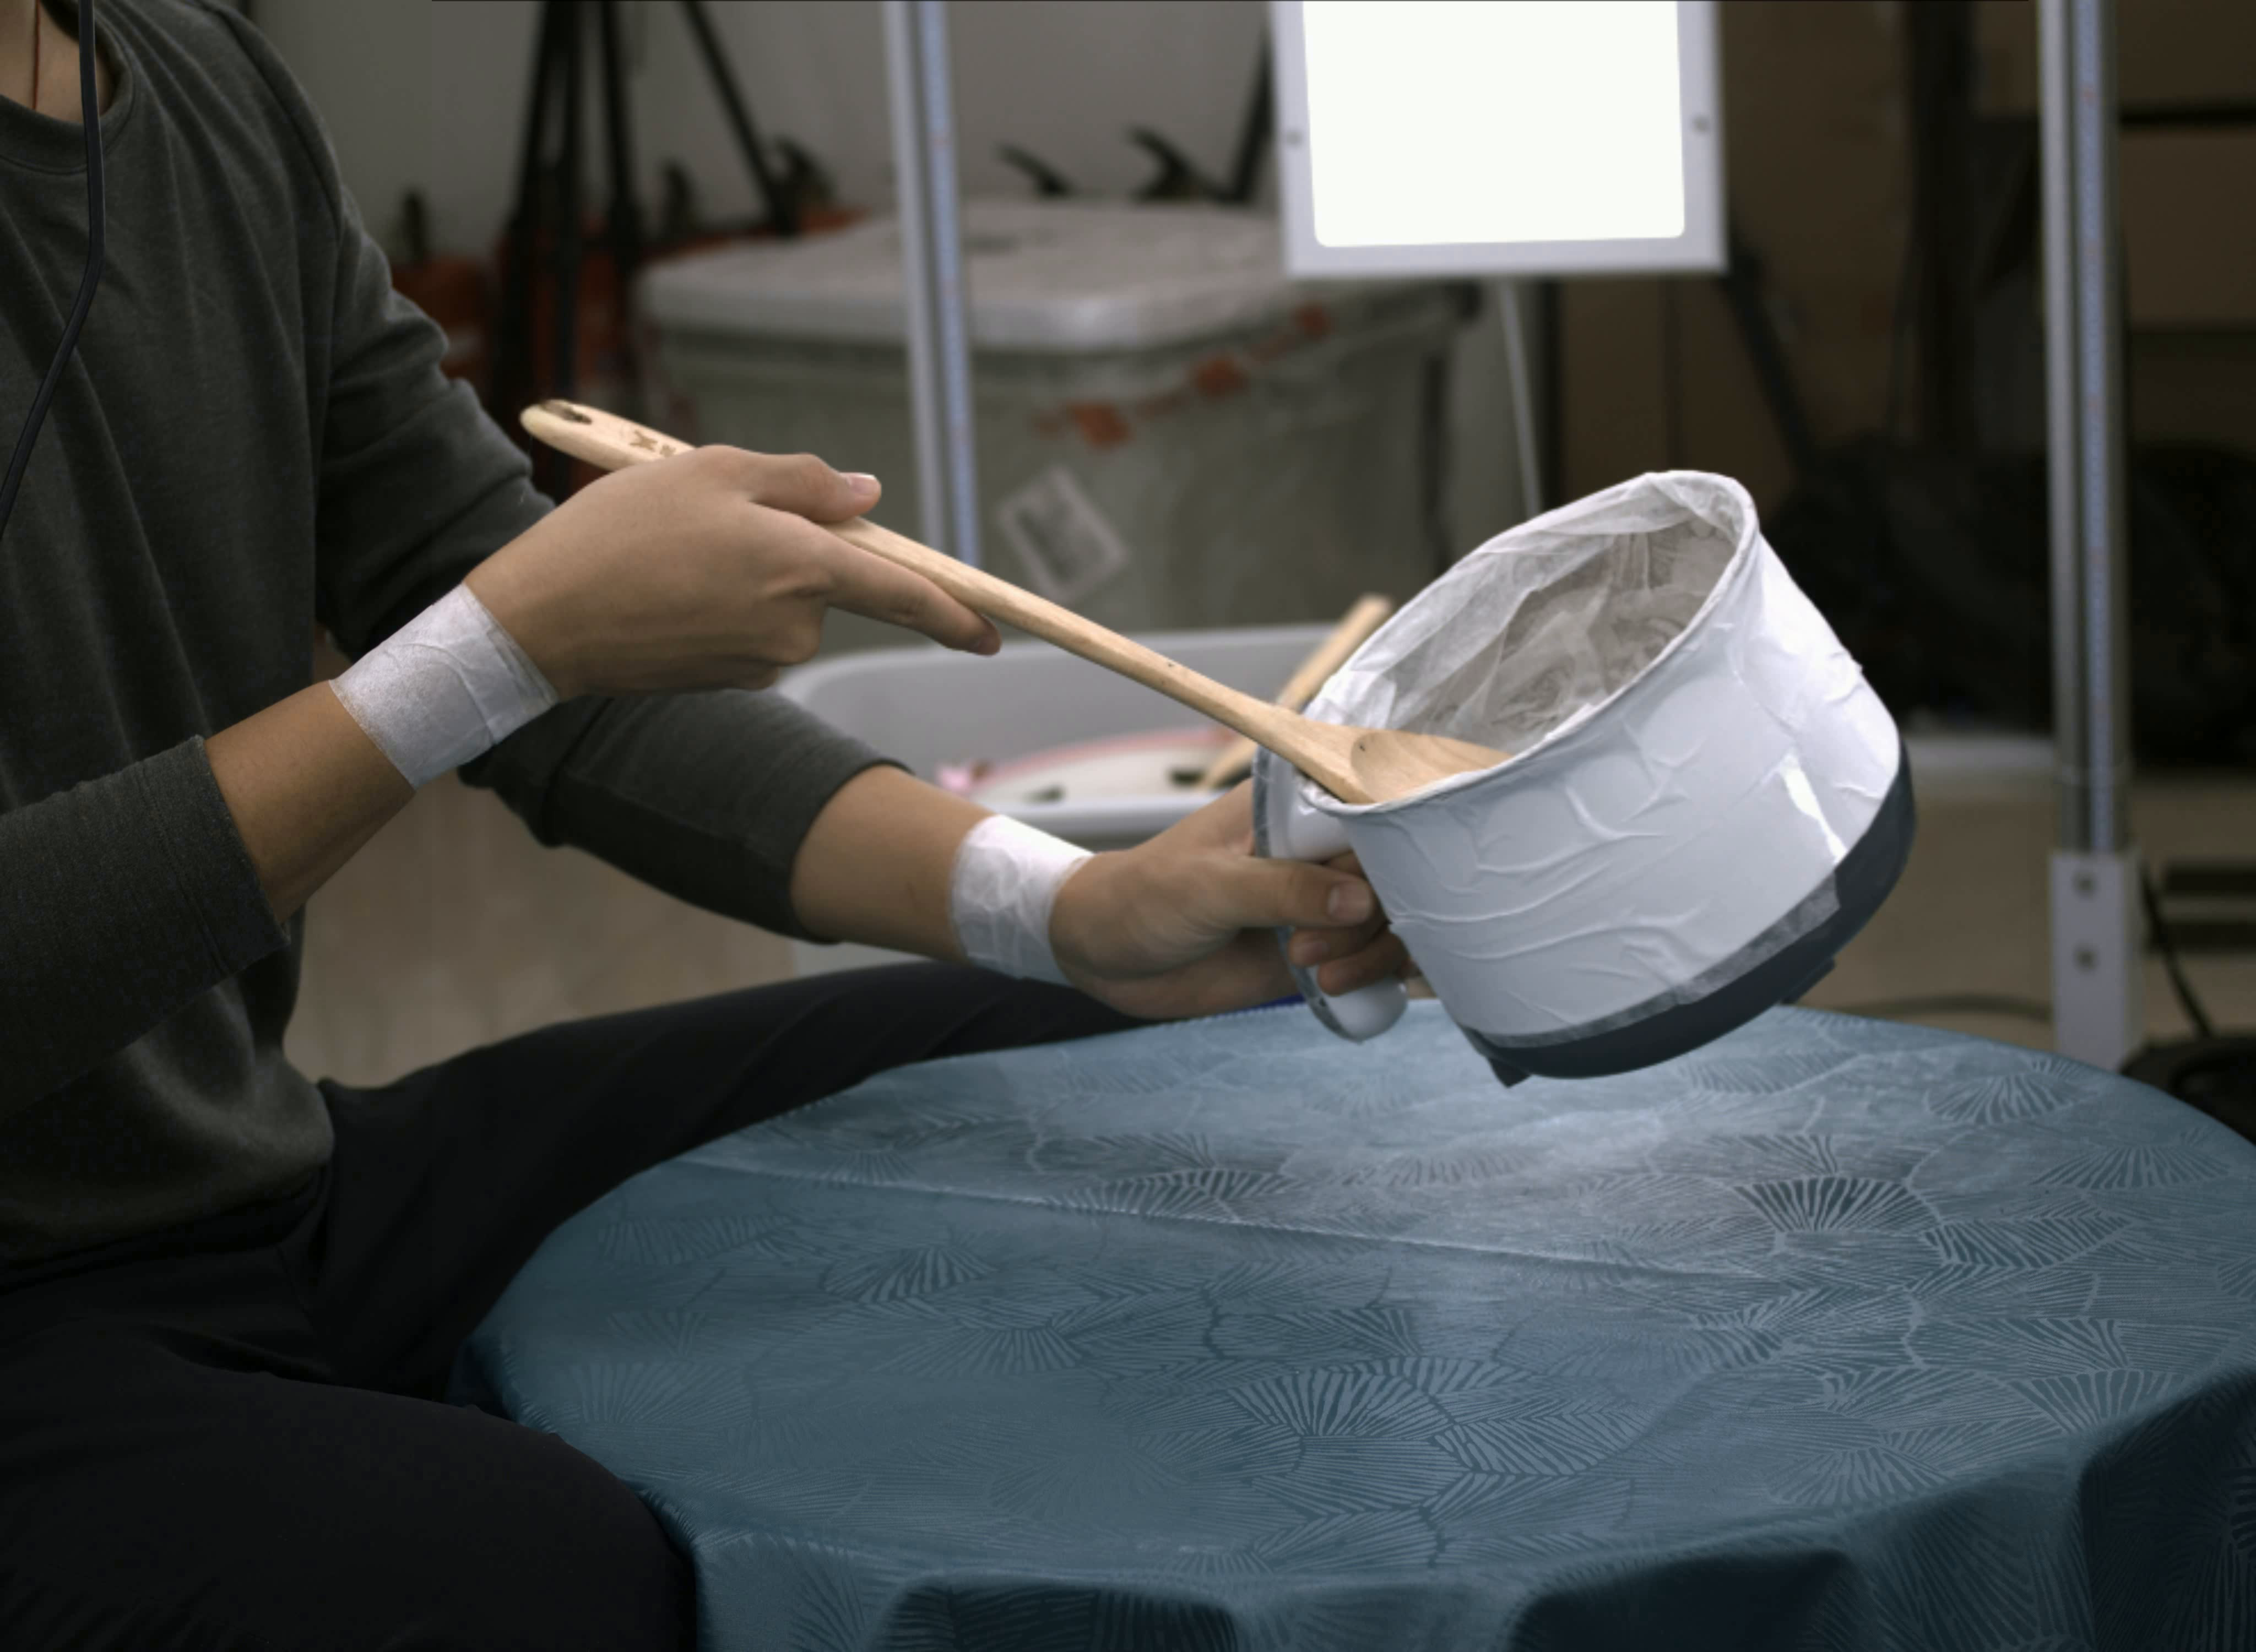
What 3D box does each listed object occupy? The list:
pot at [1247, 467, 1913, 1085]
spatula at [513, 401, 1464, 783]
[{"bbox_3d":[0.139,-0.005,1.827,0.238,0.136,0.176,-22,23,33],"label":"pot"},{"bbox_3d":[-0.019,-0.061,1.800,0.389,0.018,0.095,23,20,-4],"label":"spatula"}]
